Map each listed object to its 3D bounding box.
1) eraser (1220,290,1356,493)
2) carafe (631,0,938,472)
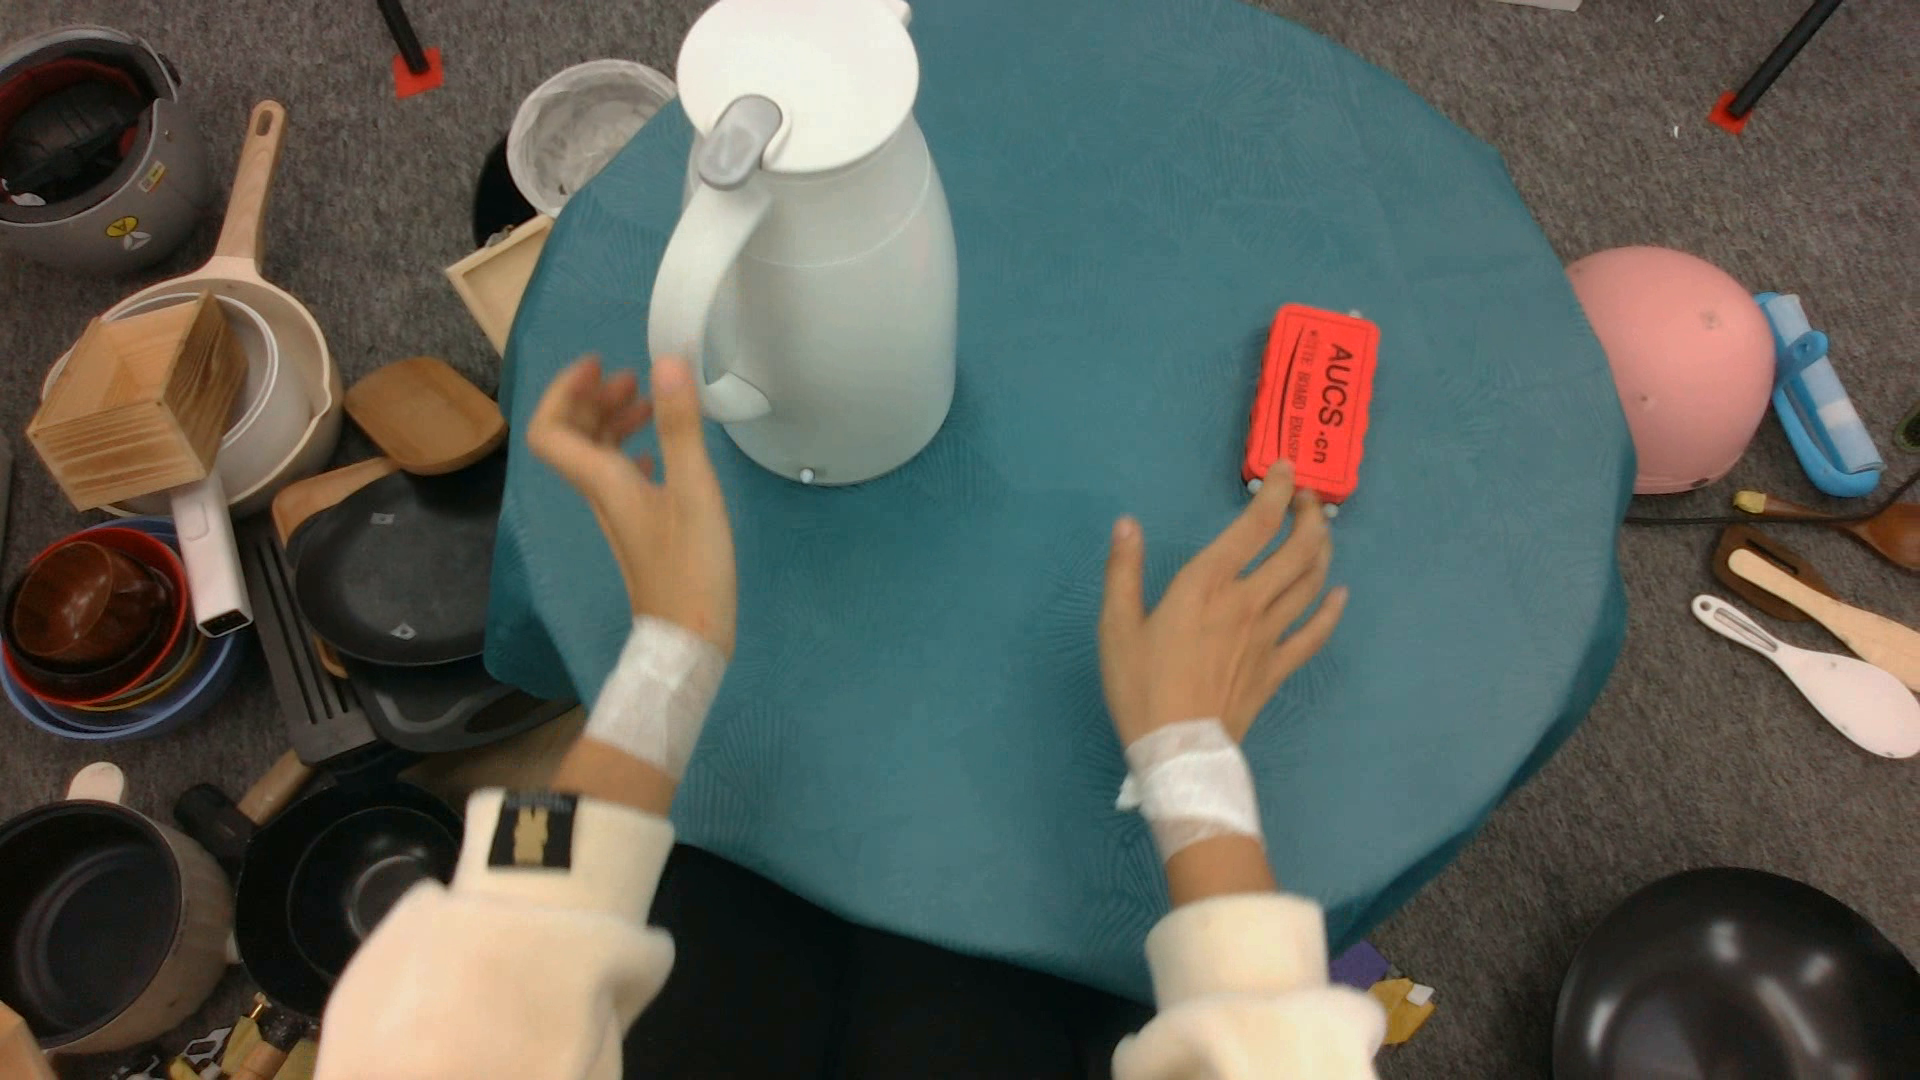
[{"bbox_3d":[0.178,-0.081,0.743,0.059,0.023,0.108,13,67,4],"label":"eraser"},{"bbox_3d":[-0.083,-0.126,0.625,0.132,0.247,0.168,30,70,9],"label":"carafe"}]
